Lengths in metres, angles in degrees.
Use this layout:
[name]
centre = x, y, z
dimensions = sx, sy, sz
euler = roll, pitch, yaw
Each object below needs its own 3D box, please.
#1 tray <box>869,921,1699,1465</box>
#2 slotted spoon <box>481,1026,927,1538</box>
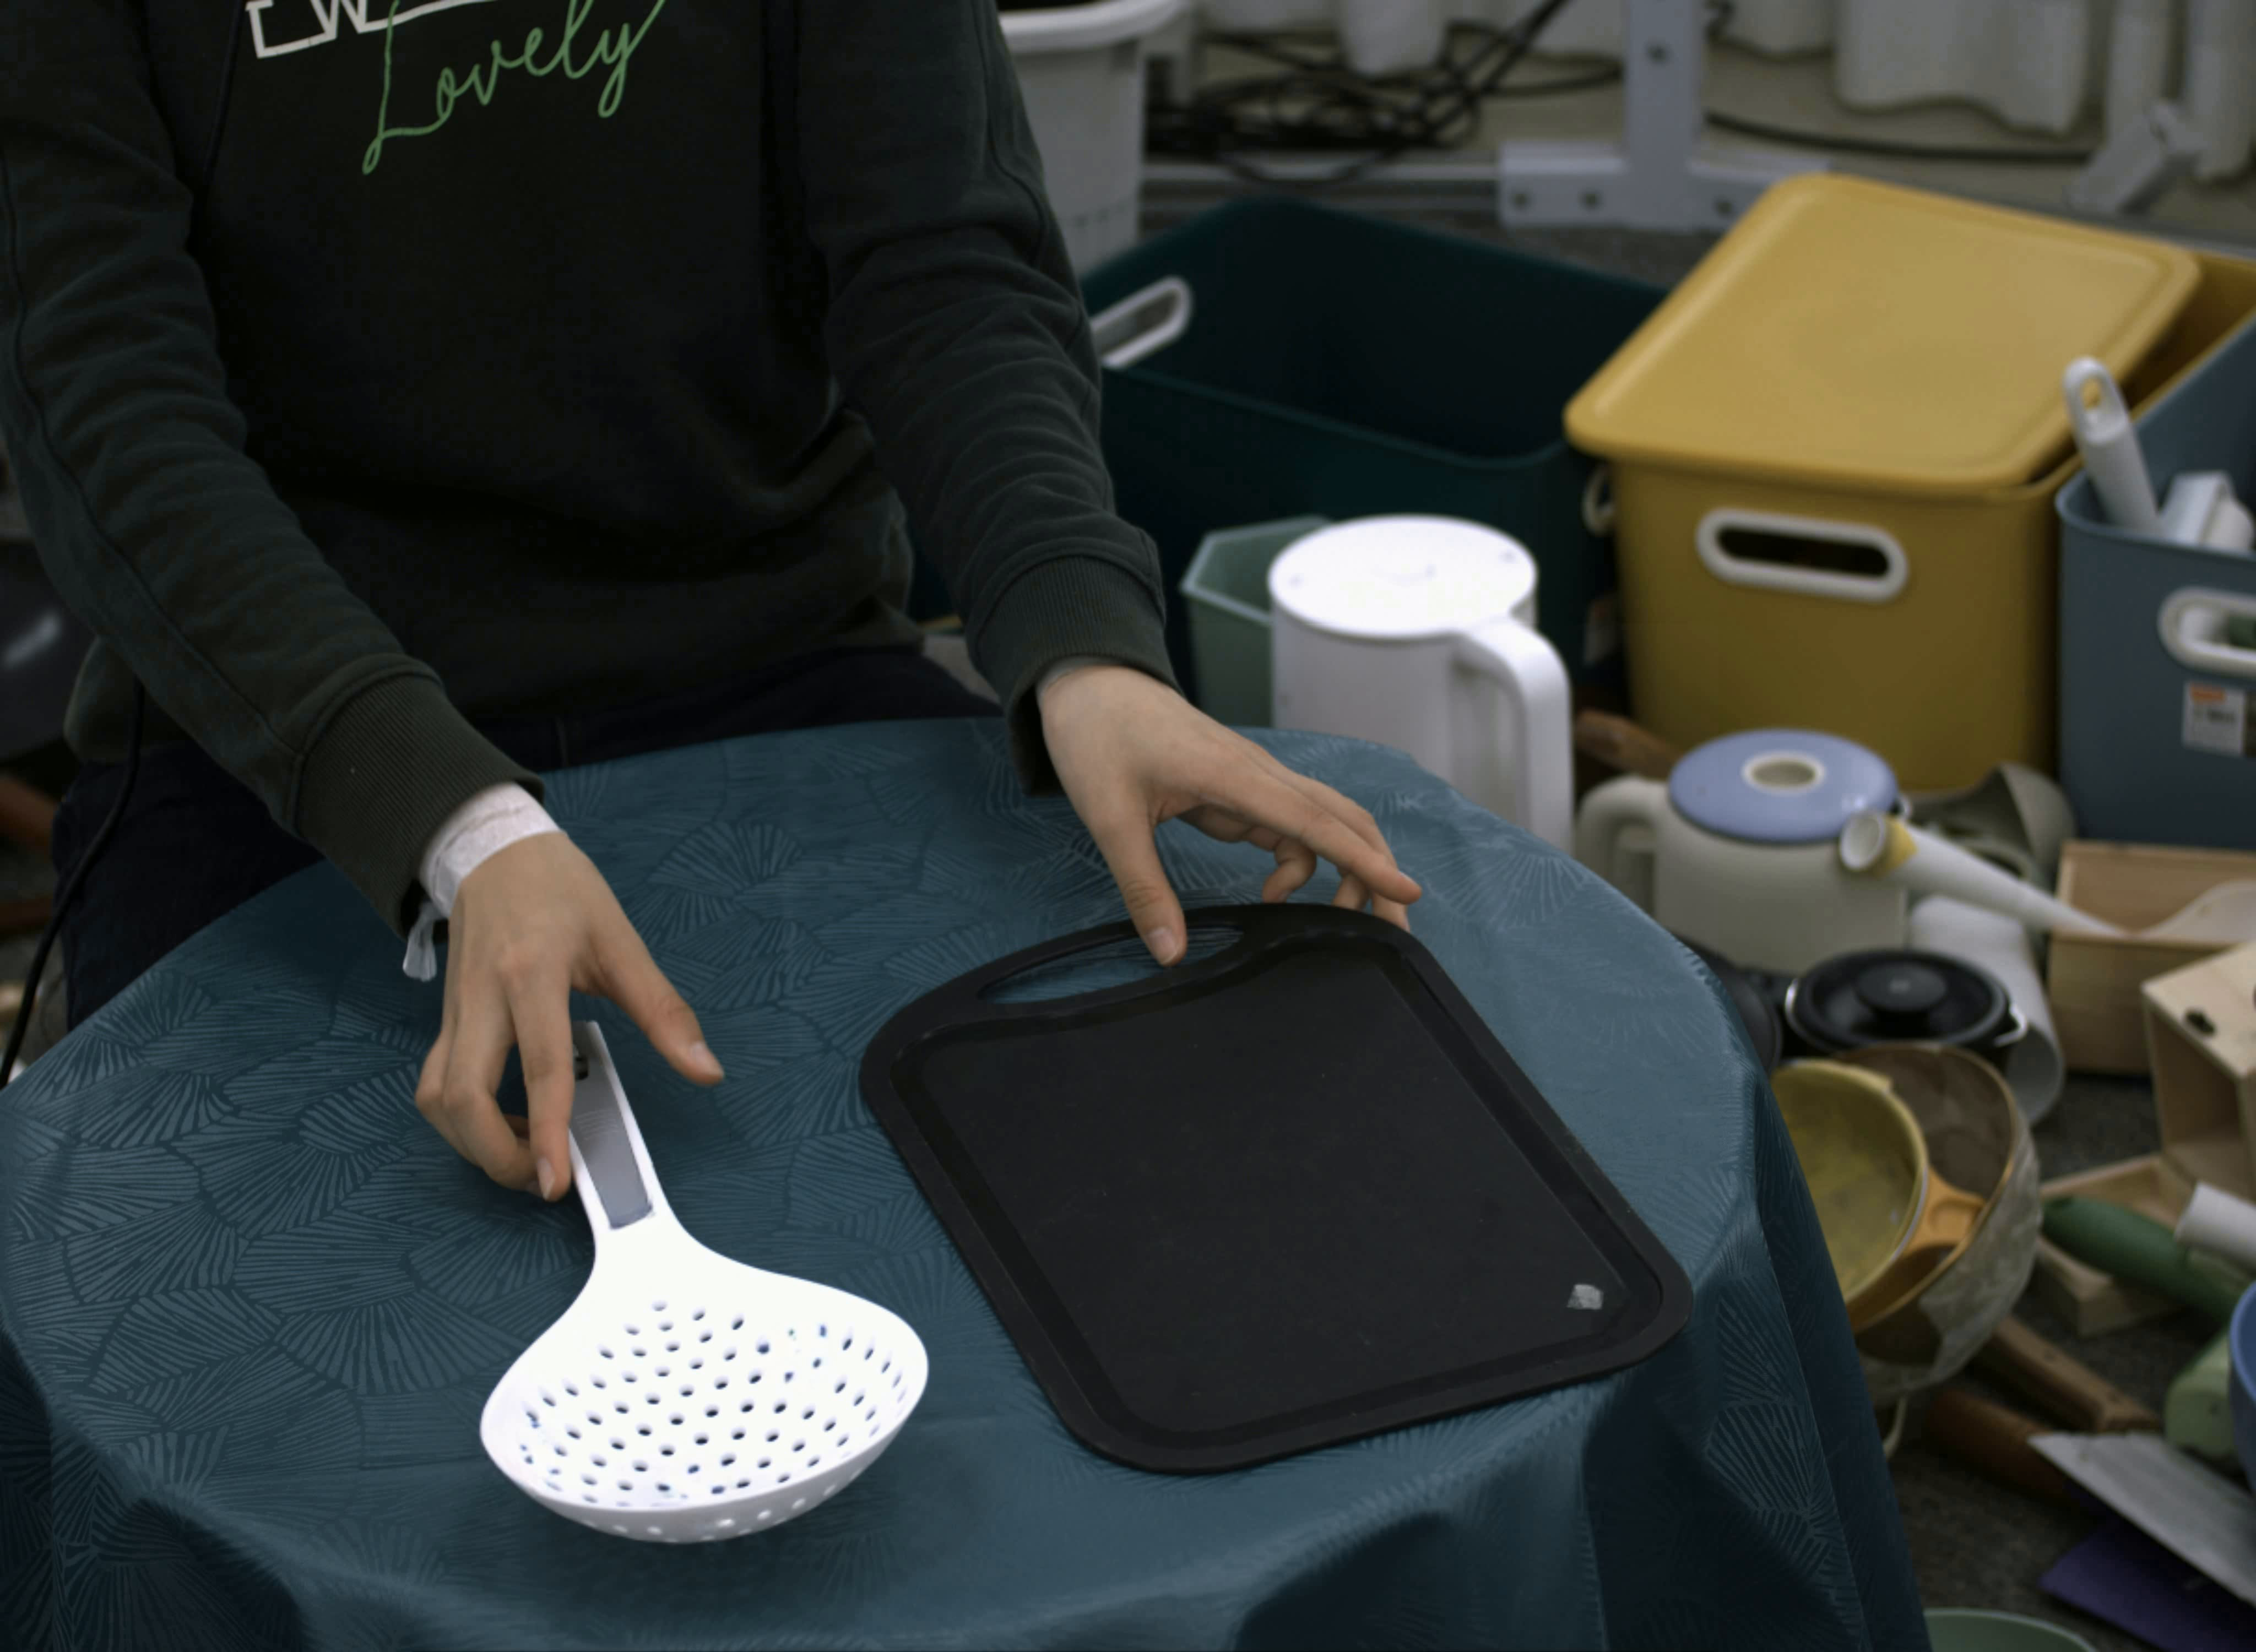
[tray]
centre = 0.041, 0.111, 1.864
dimensions = 0.211, 0.009, 0.328
euler = -12, 29, -15
[slotted spoon]
centre = -0.153, 0.139, 1.793
dimensions = 0.136, 0.045, 0.353
euler = -10, 27, -11
